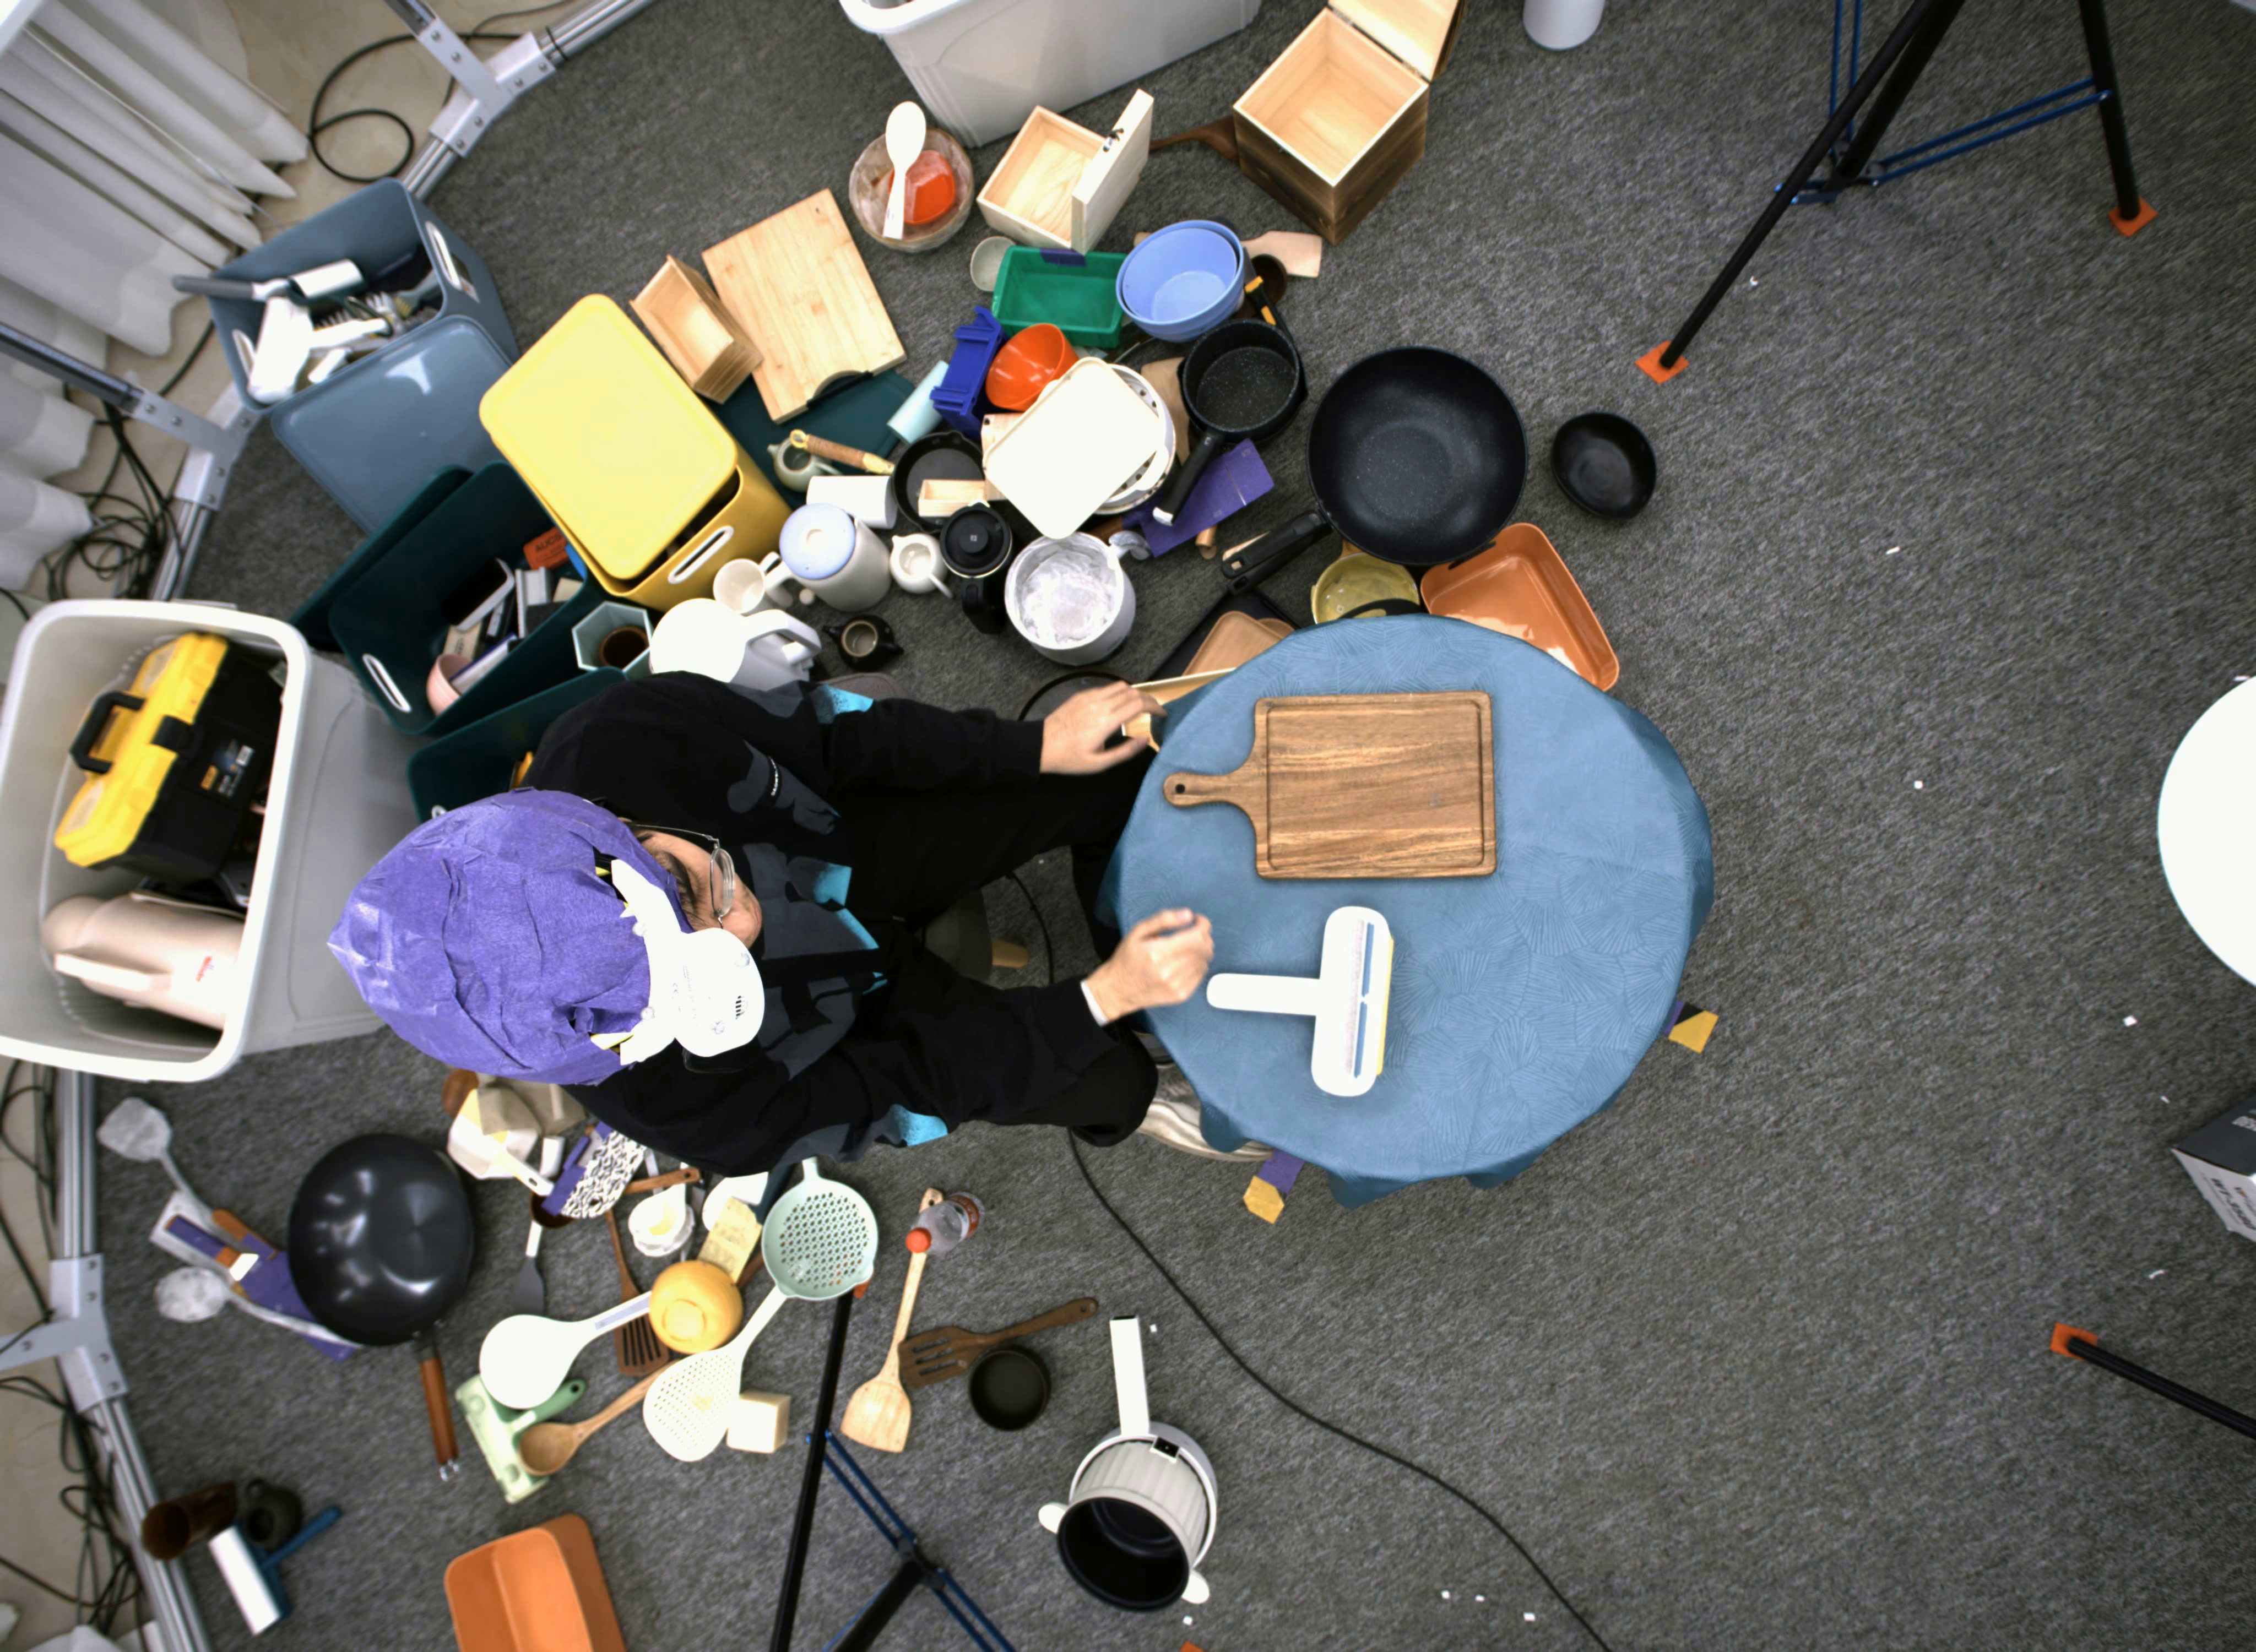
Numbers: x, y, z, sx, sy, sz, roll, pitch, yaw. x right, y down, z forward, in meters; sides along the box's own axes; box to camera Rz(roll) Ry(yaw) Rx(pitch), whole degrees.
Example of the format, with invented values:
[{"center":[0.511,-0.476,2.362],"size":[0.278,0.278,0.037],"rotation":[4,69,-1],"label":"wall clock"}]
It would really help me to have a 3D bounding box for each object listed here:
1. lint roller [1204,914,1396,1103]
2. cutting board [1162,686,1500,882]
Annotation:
[{"center":[0.171,0.177,1.434],"size":[0.193,0.074,0.191],"rotation":[9,83,12],"label":"lint roller"},{"center":[0.211,-0.043,1.462],"size":[0.353,0.023,0.200],"rotation":[-2,87,10],"label":"cutting board"}]
